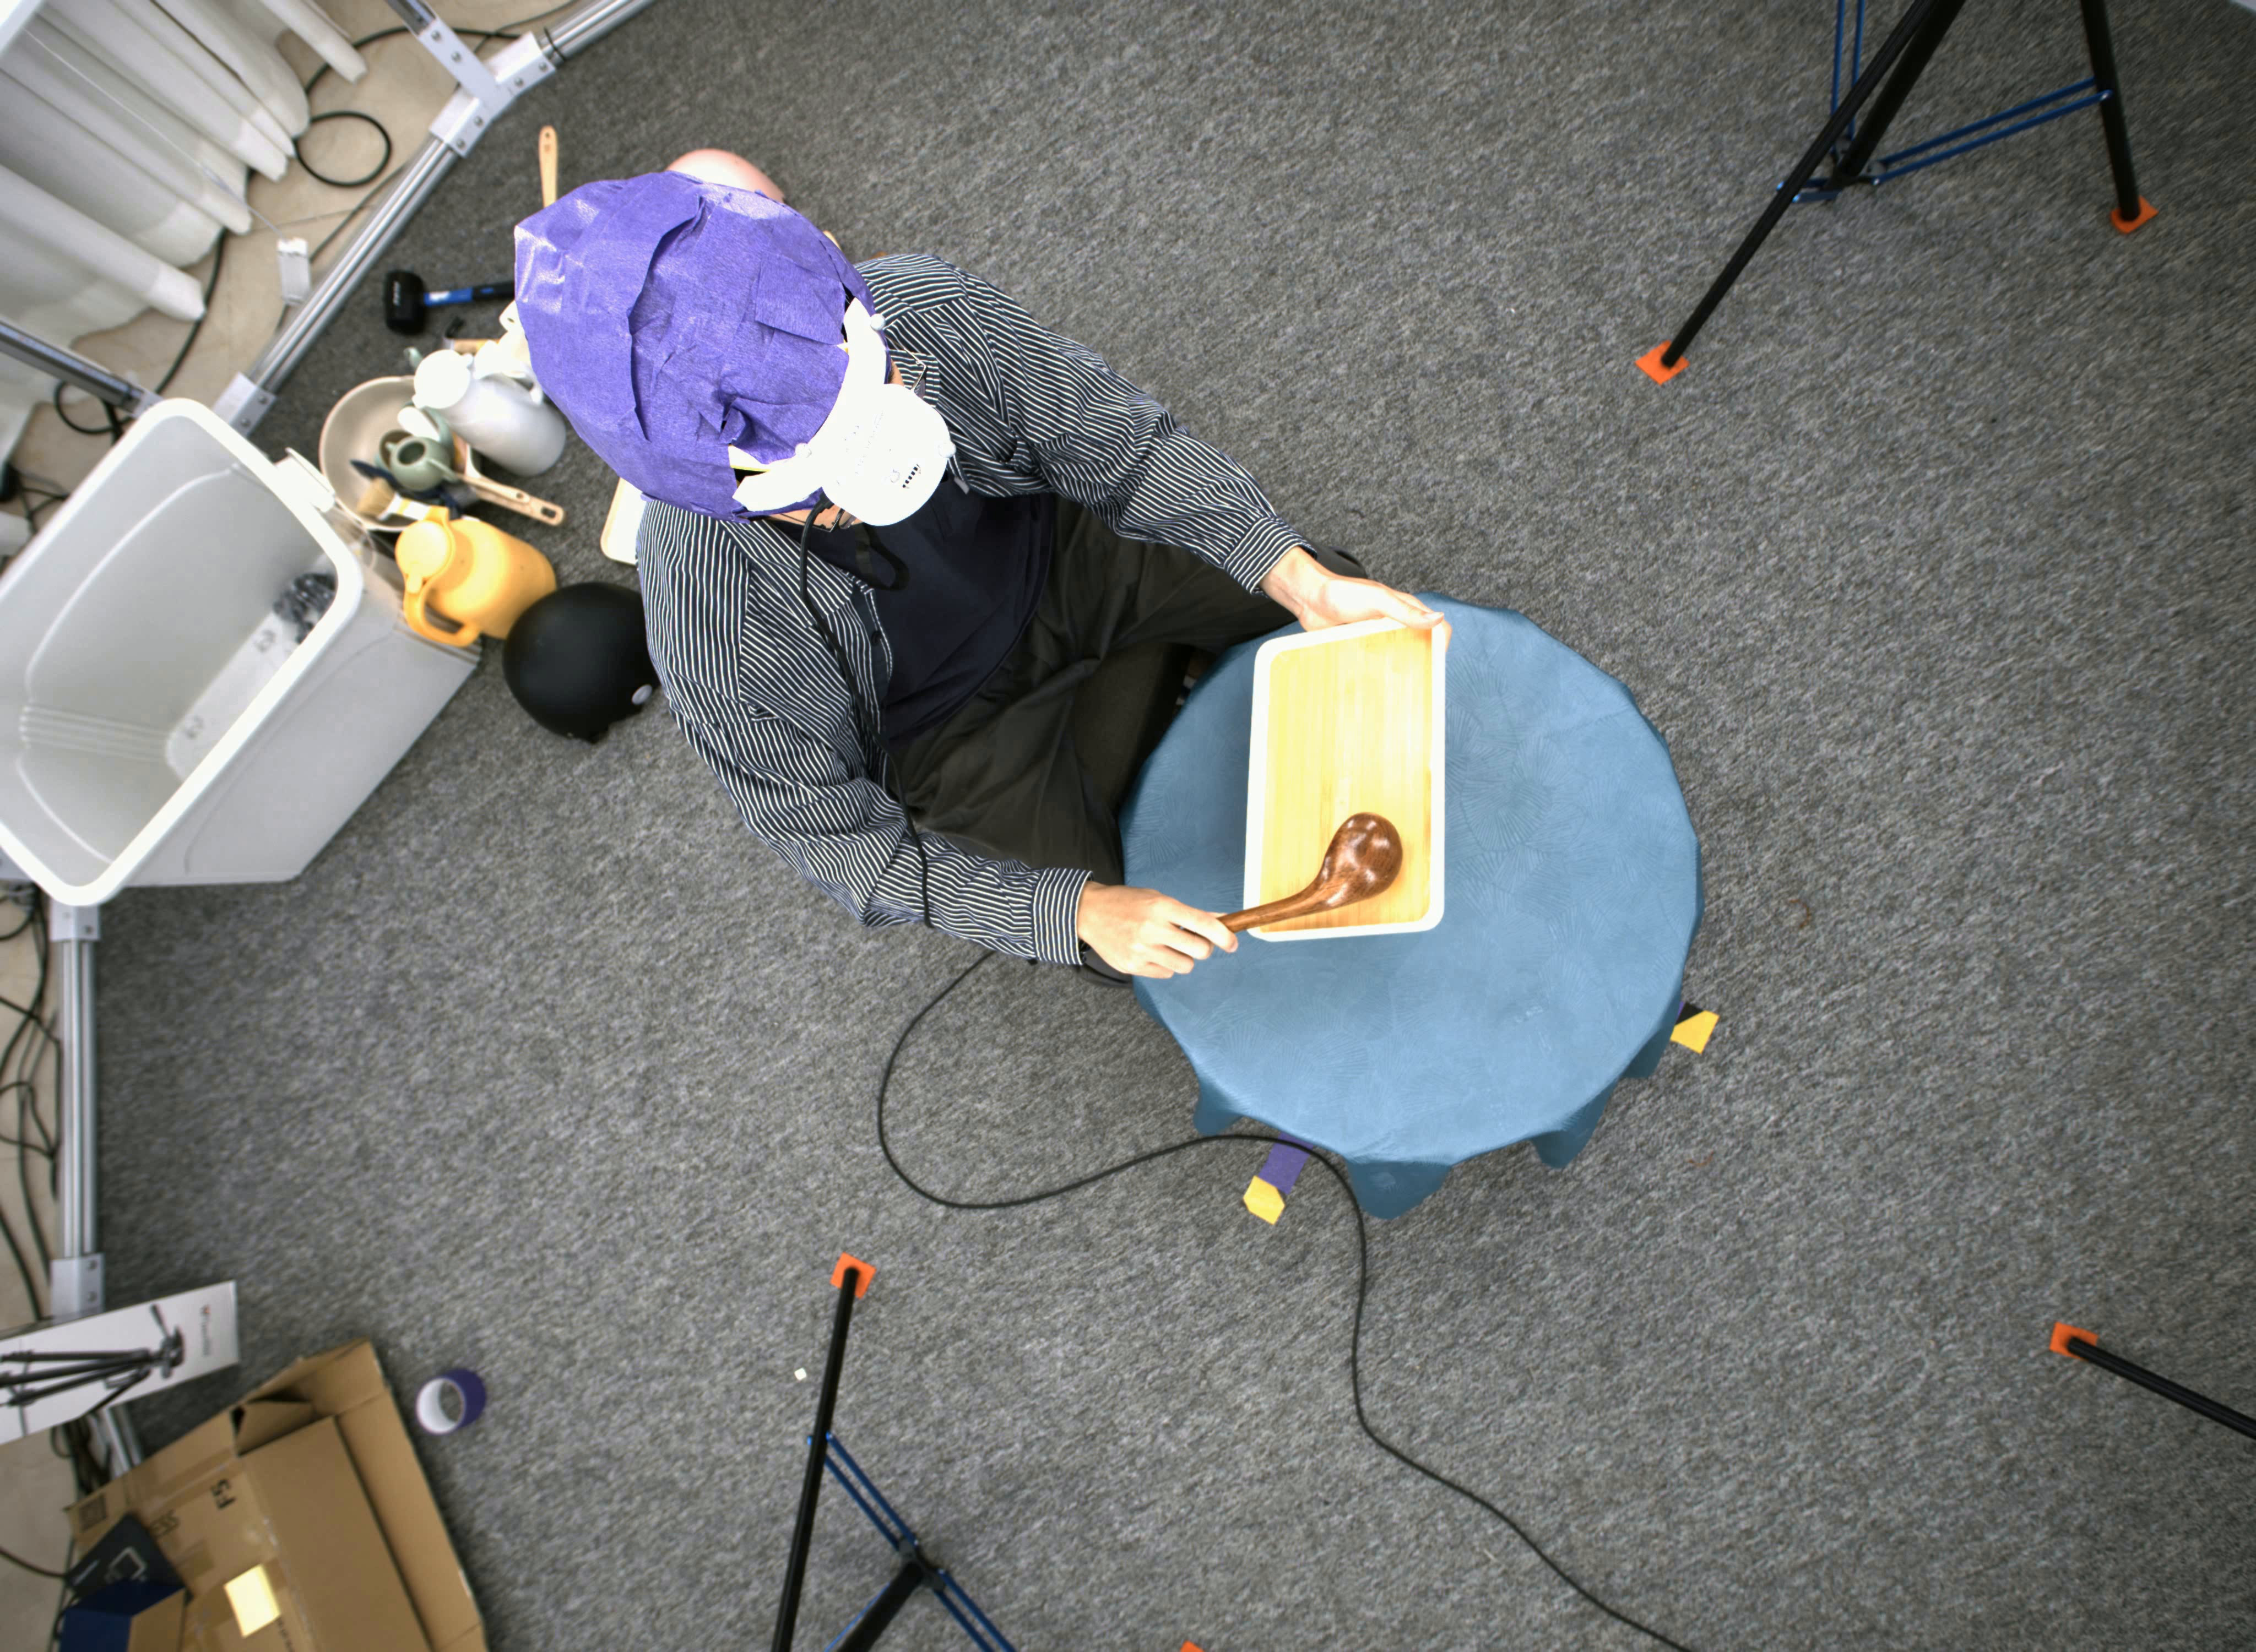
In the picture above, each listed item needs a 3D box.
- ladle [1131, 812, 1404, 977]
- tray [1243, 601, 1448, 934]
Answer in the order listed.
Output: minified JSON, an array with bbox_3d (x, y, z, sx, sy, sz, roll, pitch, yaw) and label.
[{"bbox_3d":[0.119,0.062,1.248,0.278,0.074,0.083,-22,127,31],"label":"ladle"},{"bbox_3d":[0.200,-0.053,1.267,0.193,0.027,0.296,-5,74,35],"label":"tray"}]
